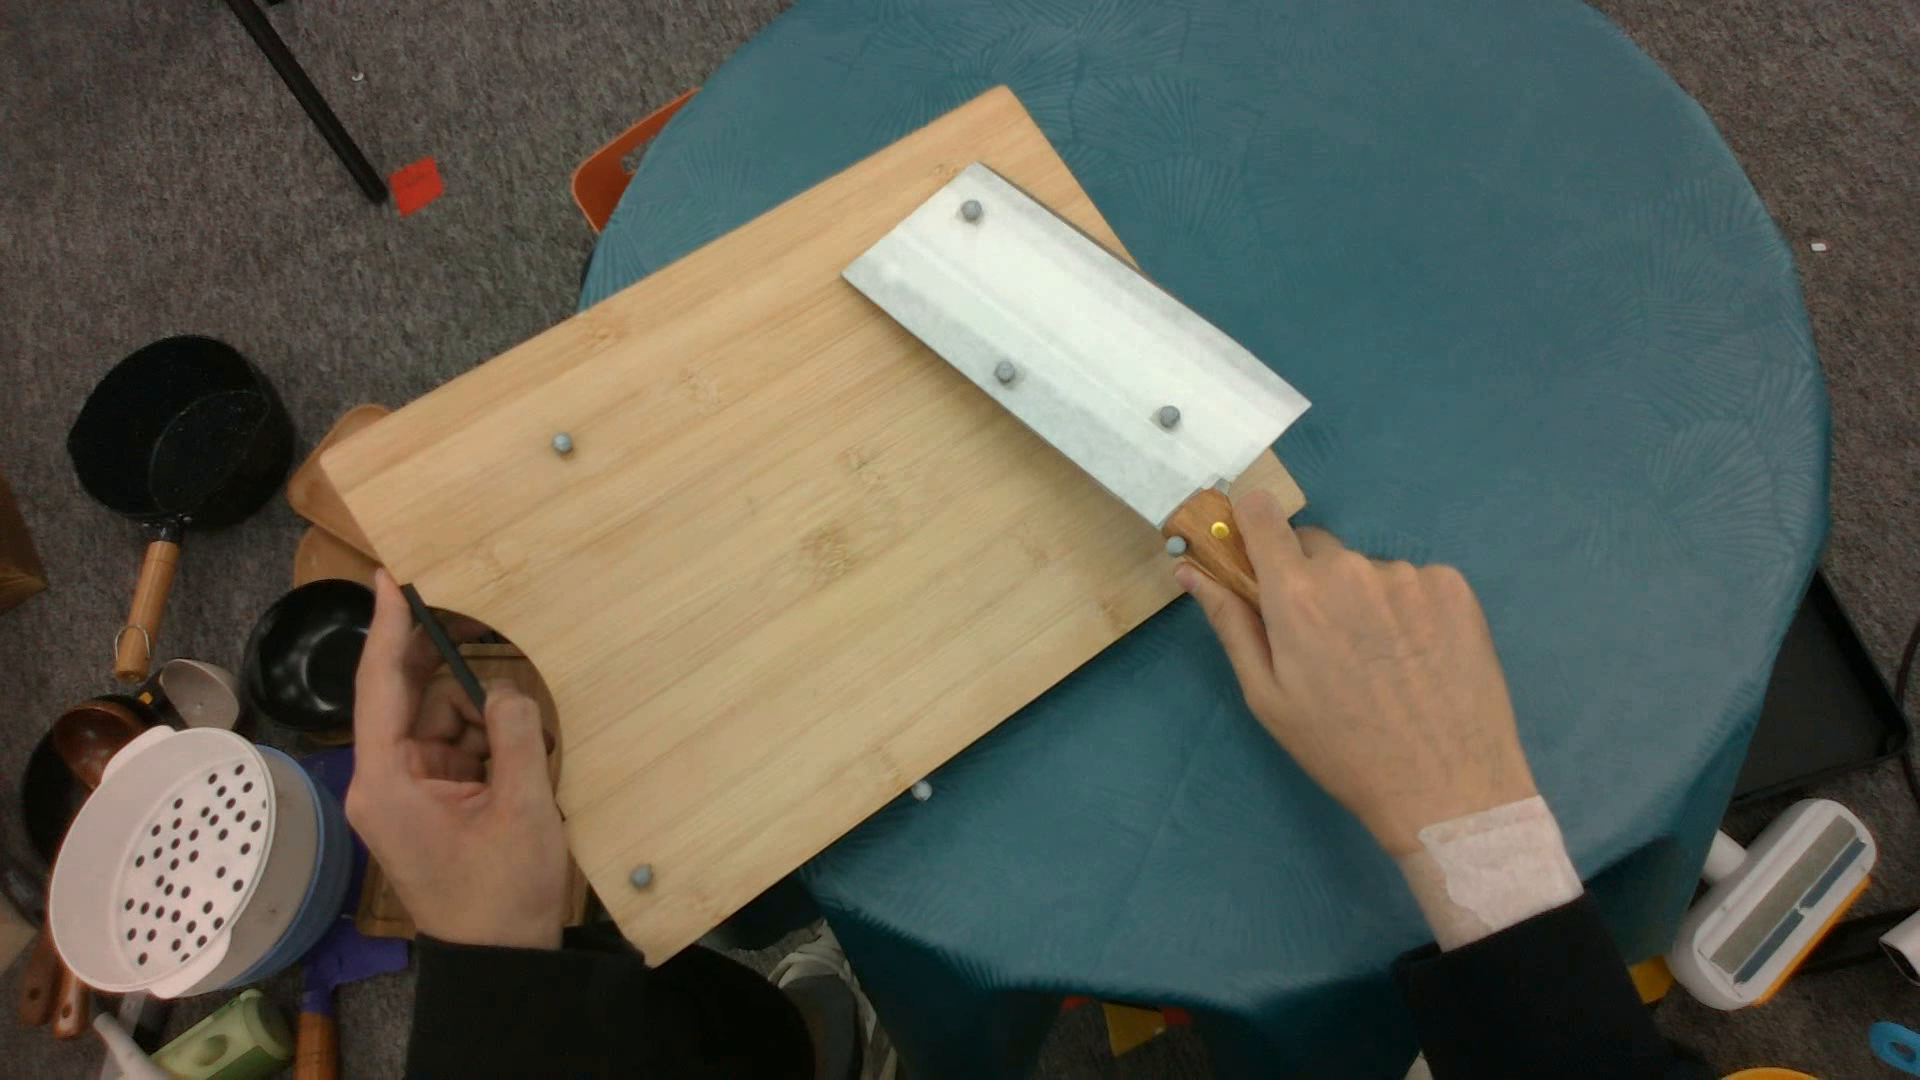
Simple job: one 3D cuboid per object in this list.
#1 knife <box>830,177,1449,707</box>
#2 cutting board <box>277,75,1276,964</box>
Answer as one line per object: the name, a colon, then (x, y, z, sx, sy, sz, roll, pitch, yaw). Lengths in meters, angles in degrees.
knife: (0.081, -0.056, 0.569, 0.306, 0.021, 0.093, 39, 71, 17)
cutting board: (-0.062, -0.026, 0.586, 0.349, 0.023, 0.251, -35, 84, -18)
